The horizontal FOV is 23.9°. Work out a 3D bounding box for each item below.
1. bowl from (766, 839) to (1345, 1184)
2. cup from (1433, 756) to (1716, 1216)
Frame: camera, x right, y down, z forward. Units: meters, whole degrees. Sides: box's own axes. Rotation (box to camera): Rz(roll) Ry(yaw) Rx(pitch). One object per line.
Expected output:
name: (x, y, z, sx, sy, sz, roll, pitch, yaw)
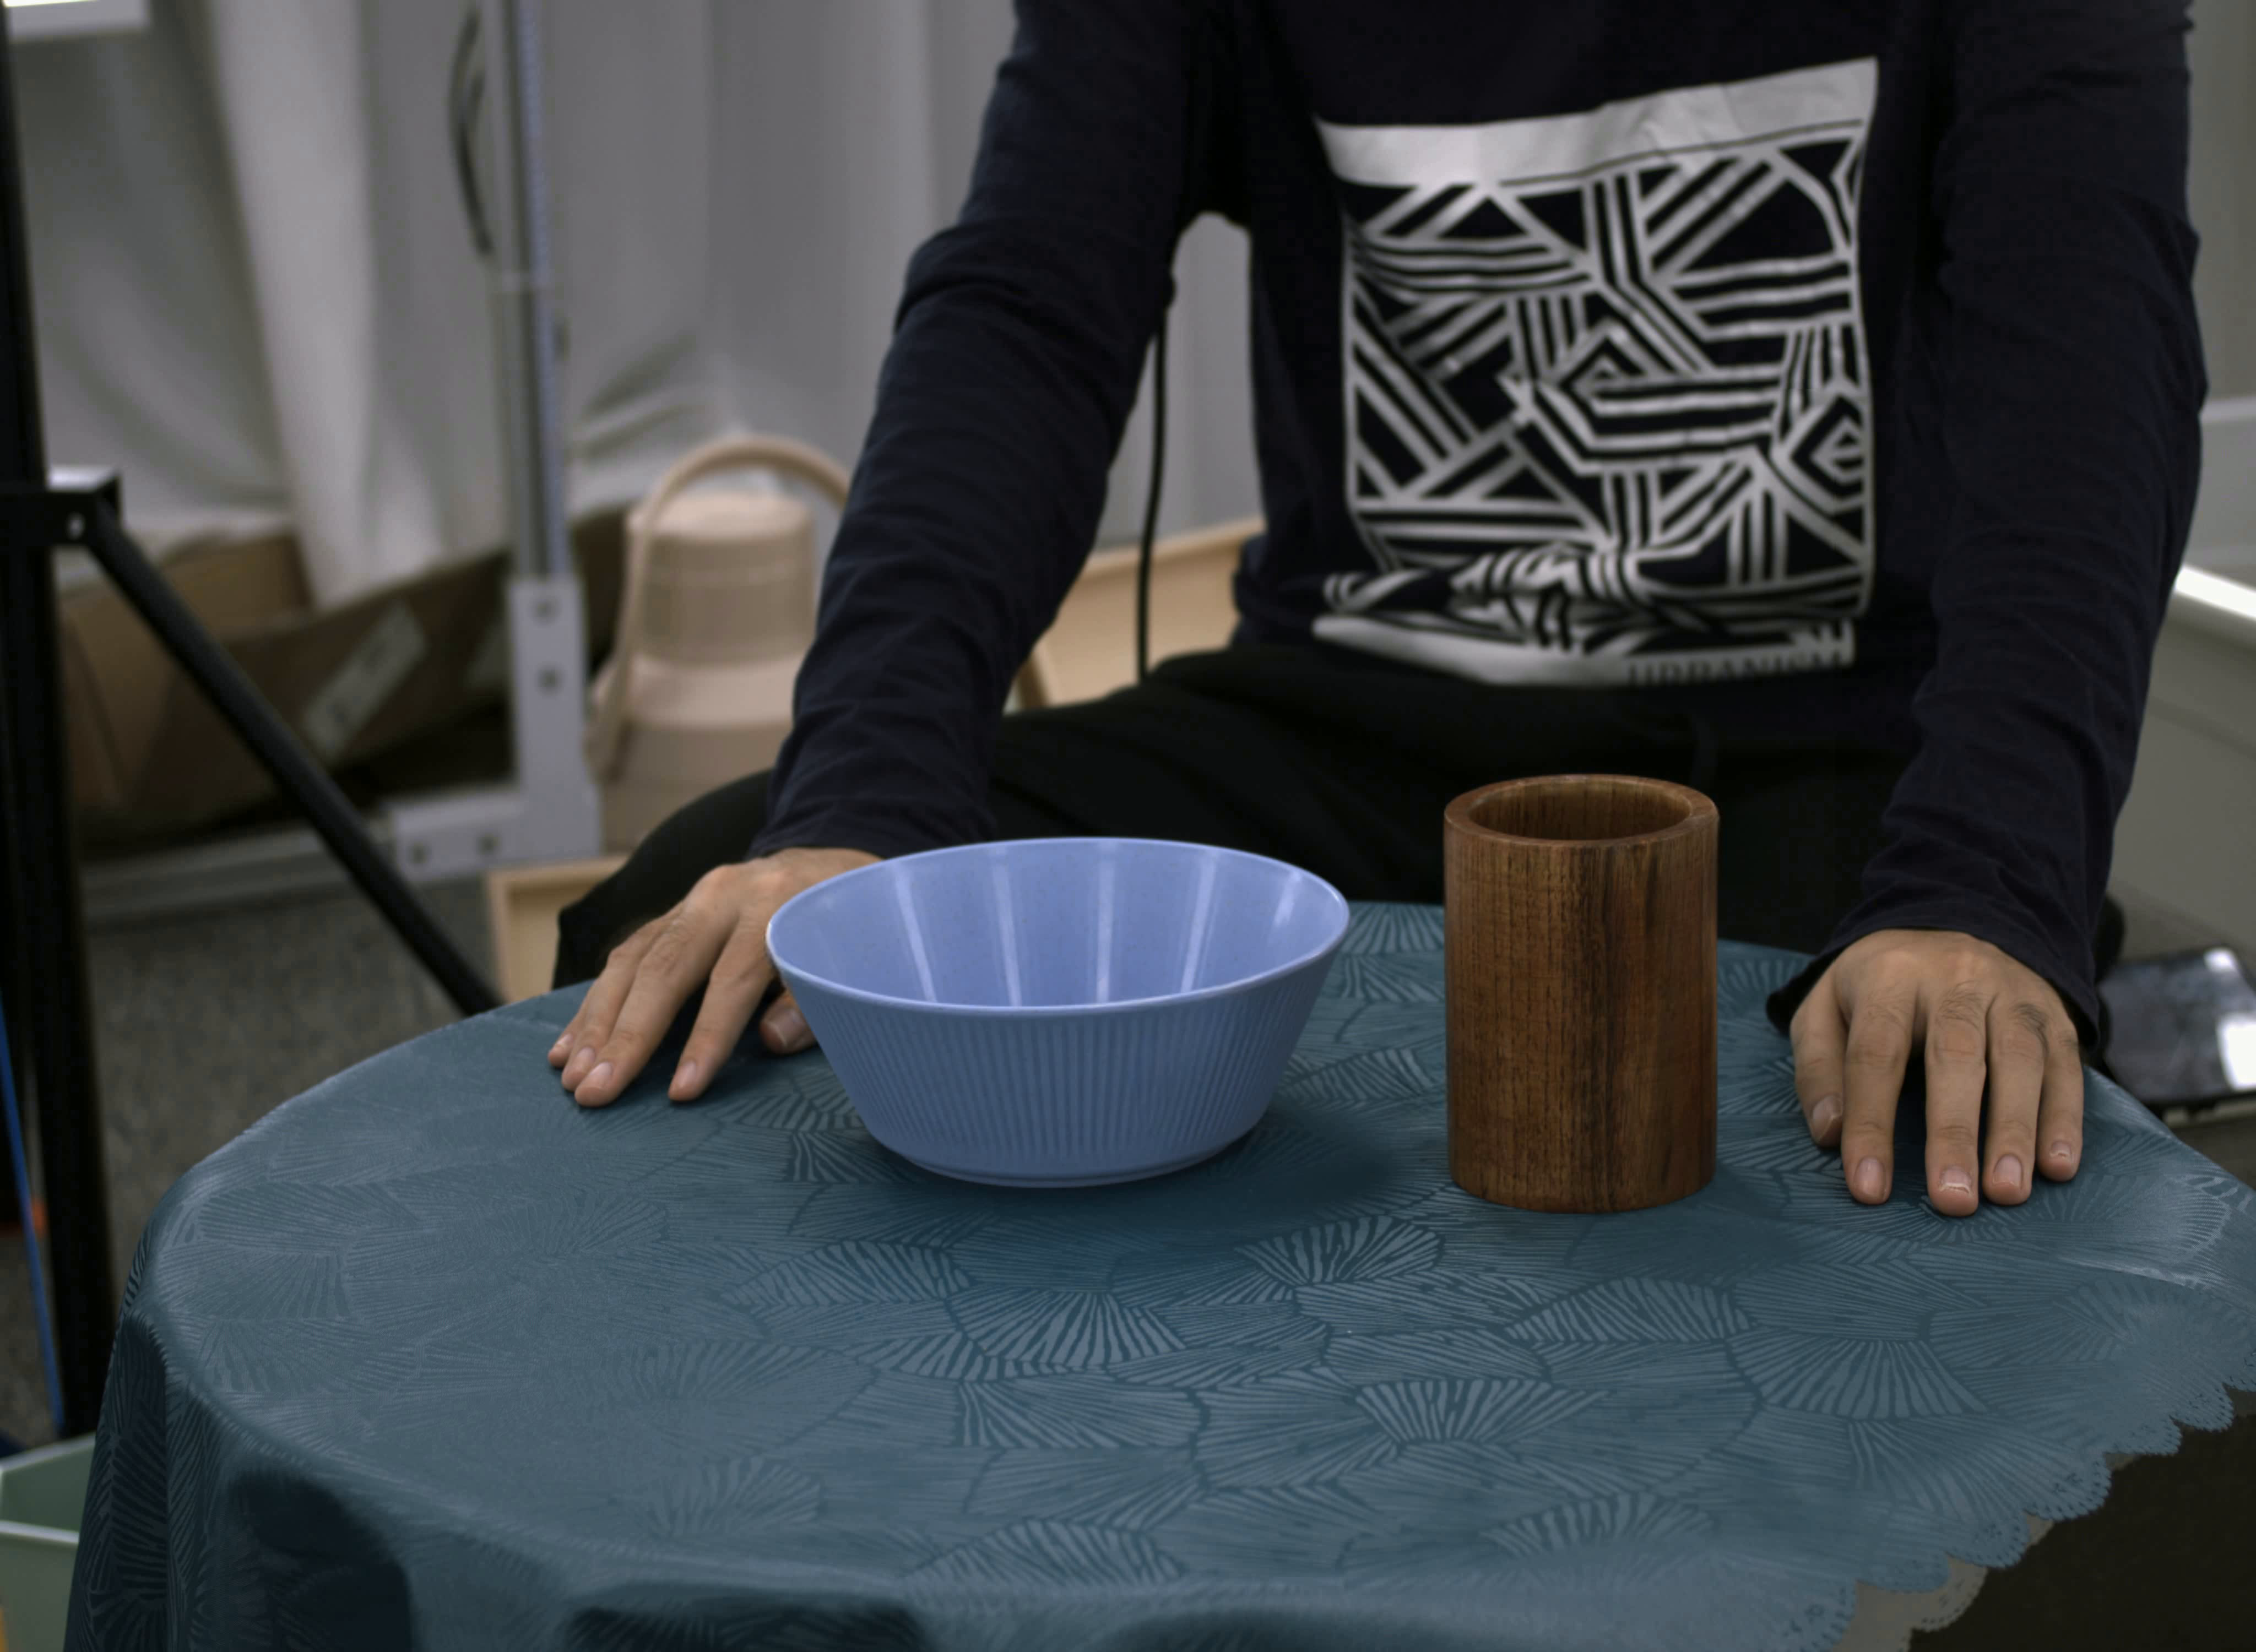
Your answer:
bowl: (-0.021, 0.058, 1.611, 0.175, 0.070, 0.177, -2, 15, -1)
cup: (0.130, 0.046, 1.547, 0.087, 0.118, 0.088, -1, 13, -1)
